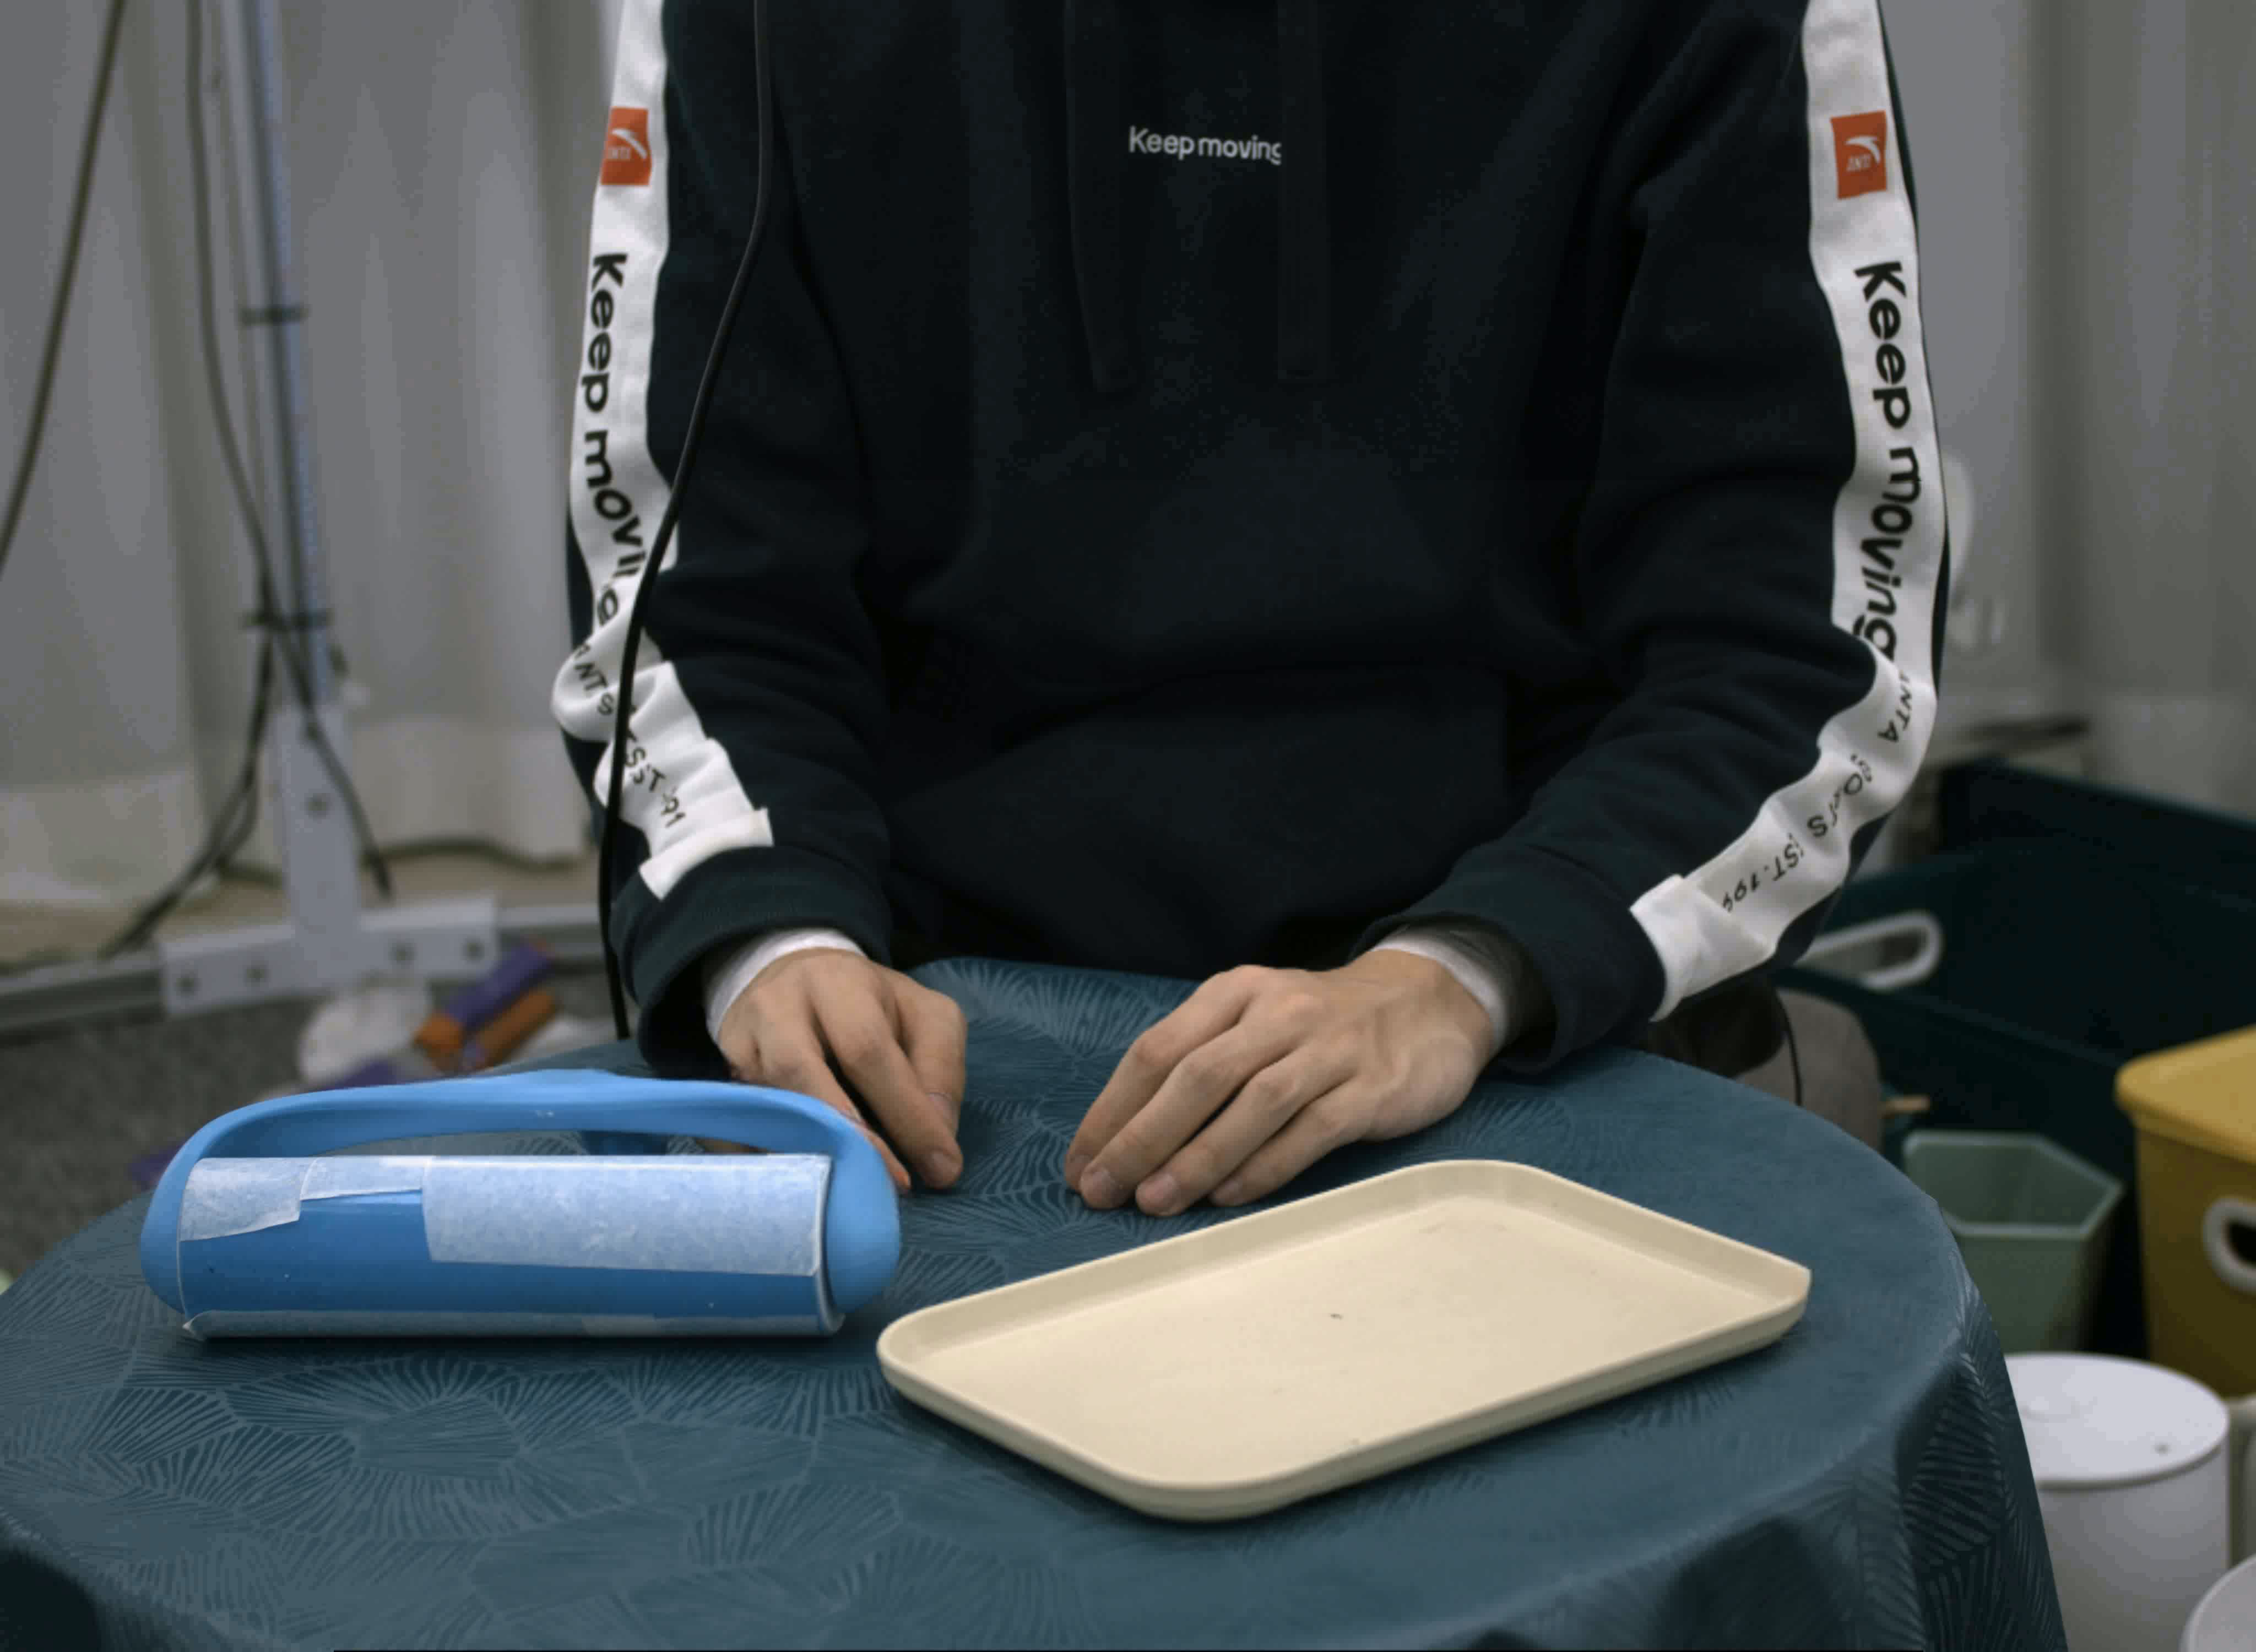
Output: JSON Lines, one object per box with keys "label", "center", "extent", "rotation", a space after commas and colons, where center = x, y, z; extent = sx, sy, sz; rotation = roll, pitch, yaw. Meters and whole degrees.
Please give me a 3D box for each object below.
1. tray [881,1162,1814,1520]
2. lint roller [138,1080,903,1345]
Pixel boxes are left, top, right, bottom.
{"label": "tray", "center": [0.063, 0.145, 1.553], "extent": [0.239, 0.017, 0.172], "rotation": [-14, 18, -34]}
{"label": "lint roller", "center": [-0.175, 0.108, 1.667], "extent": [0.228, 0.067, 0.181], "rotation": [-3, 15, 6]}
